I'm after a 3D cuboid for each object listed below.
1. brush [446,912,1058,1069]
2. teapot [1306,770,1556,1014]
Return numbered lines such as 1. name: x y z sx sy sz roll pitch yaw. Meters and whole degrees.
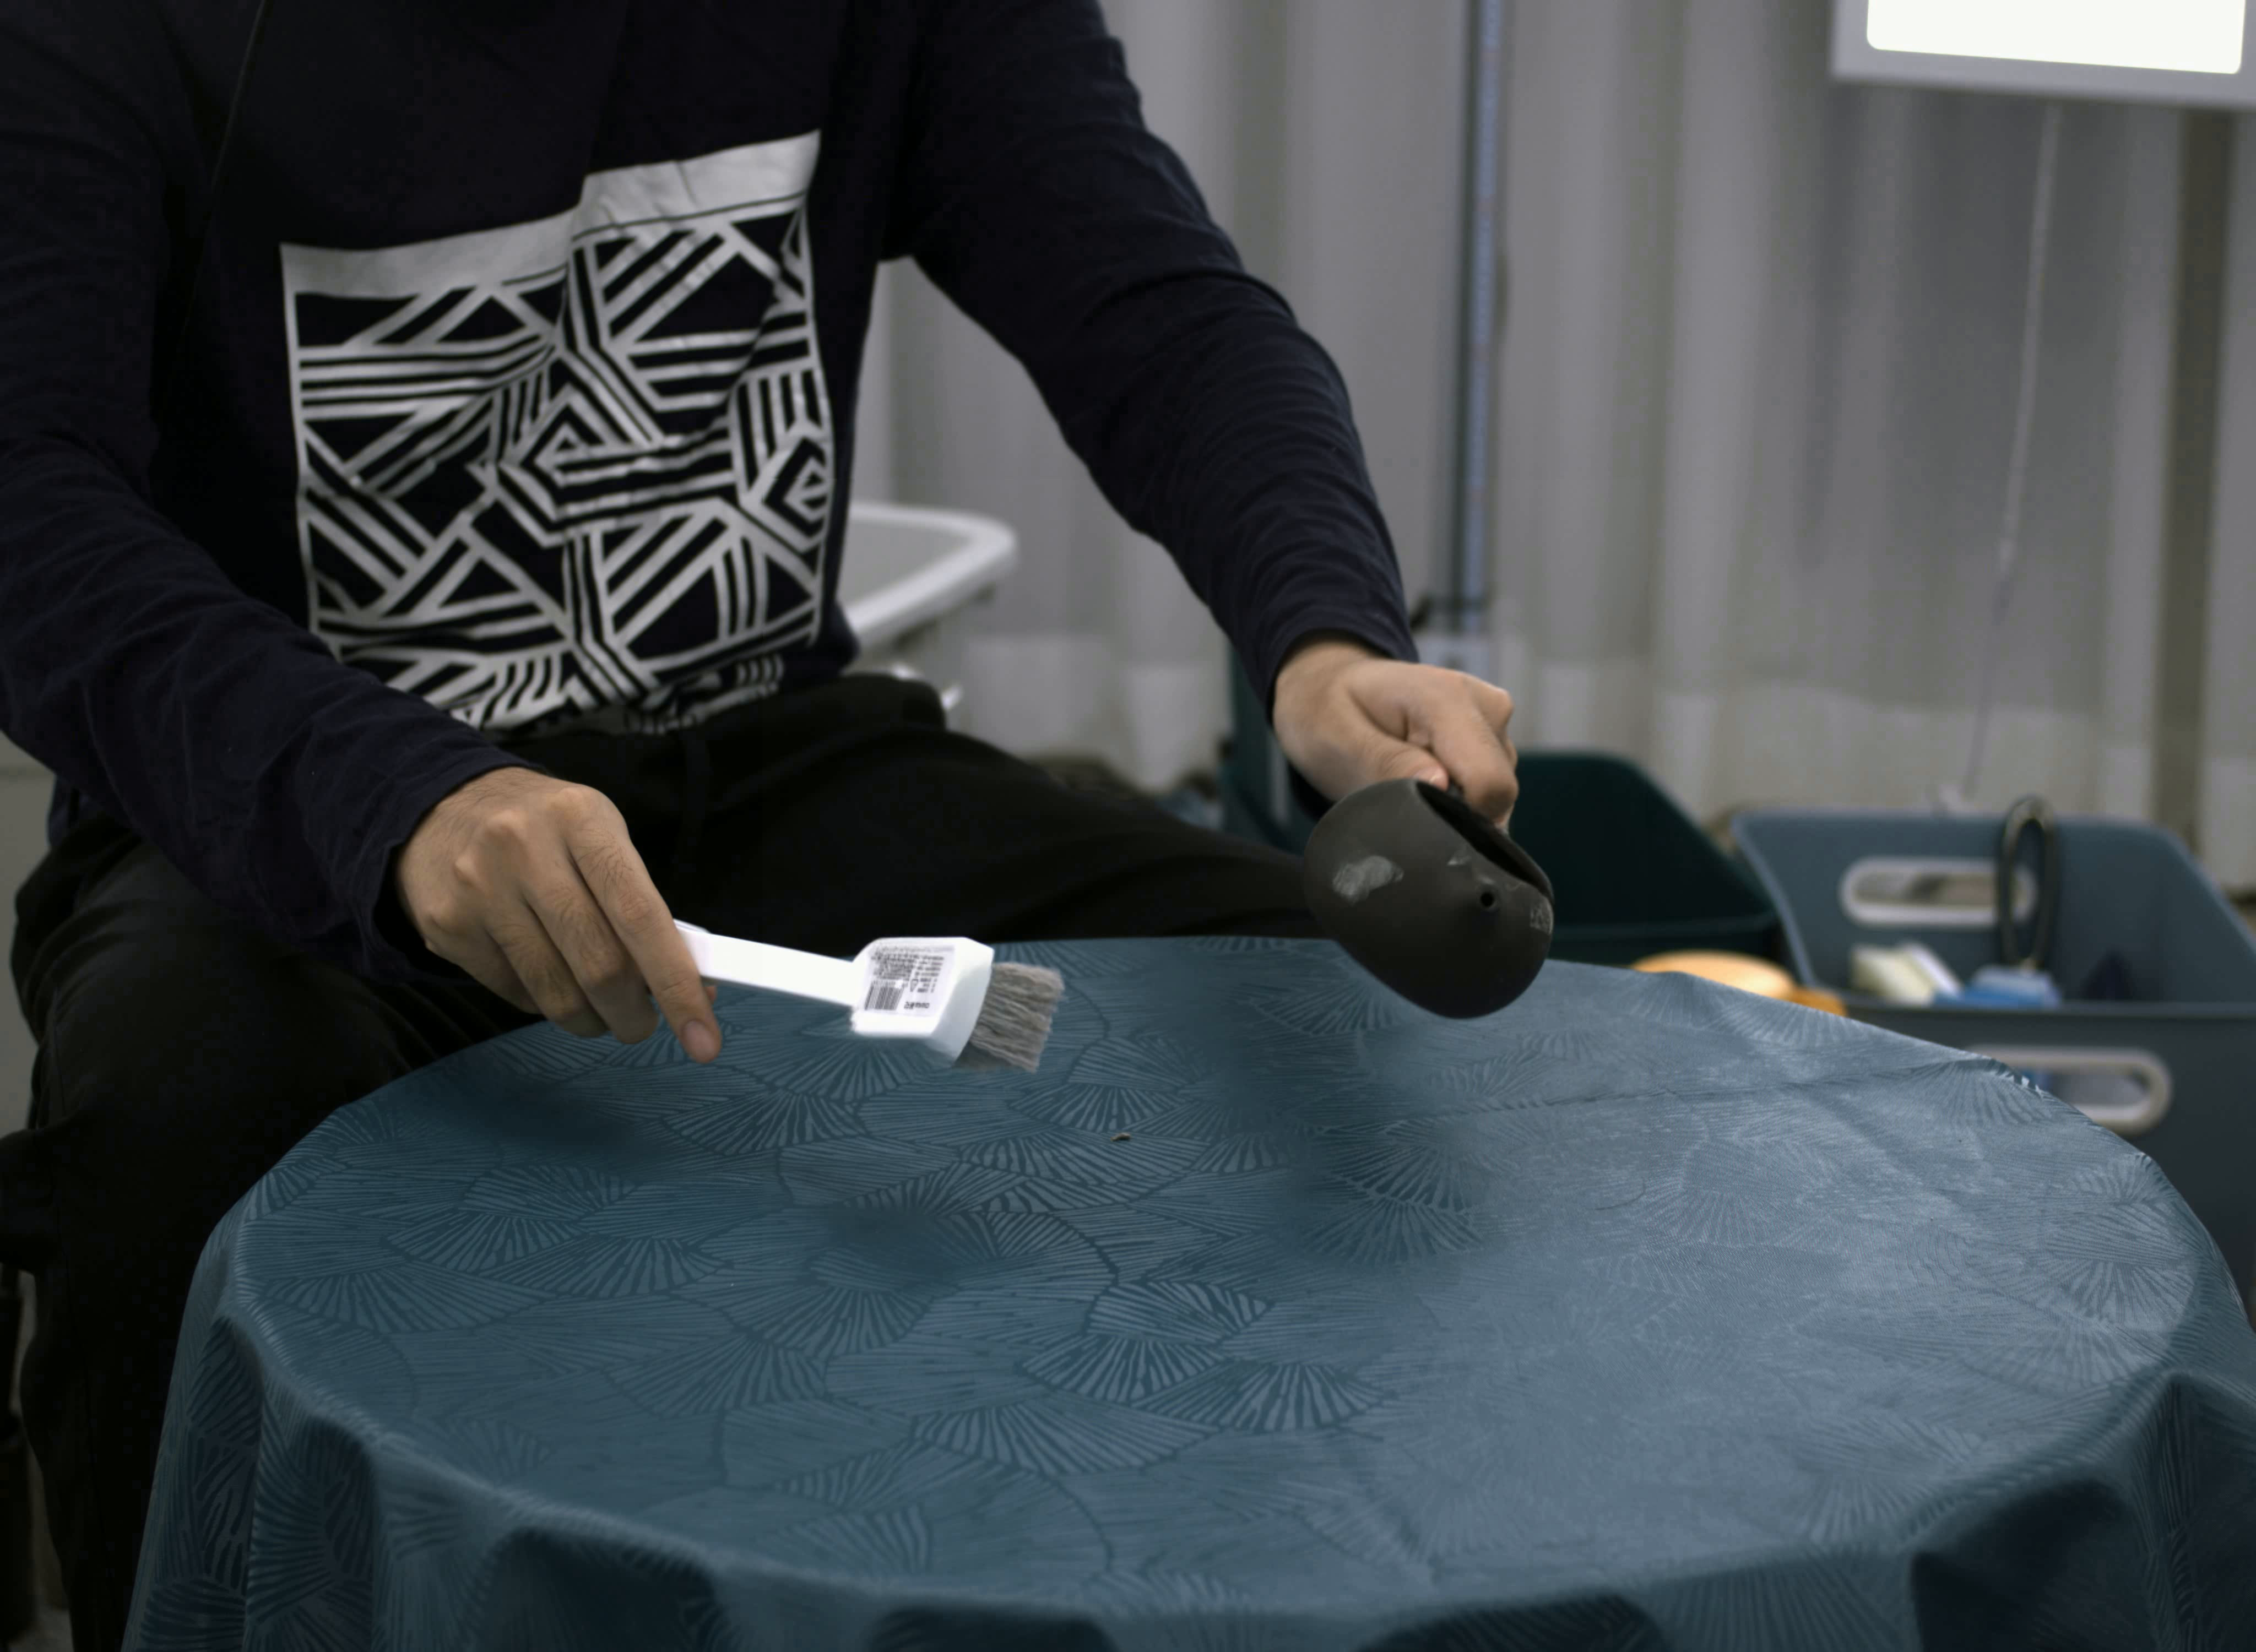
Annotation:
1. brush: -0.118 0.049 1.644 0.241 0.034 0.051 3 -18 41
2. teapot: 0.093 0.015 1.633 0.083 0.053 0.113 36 14 -15
